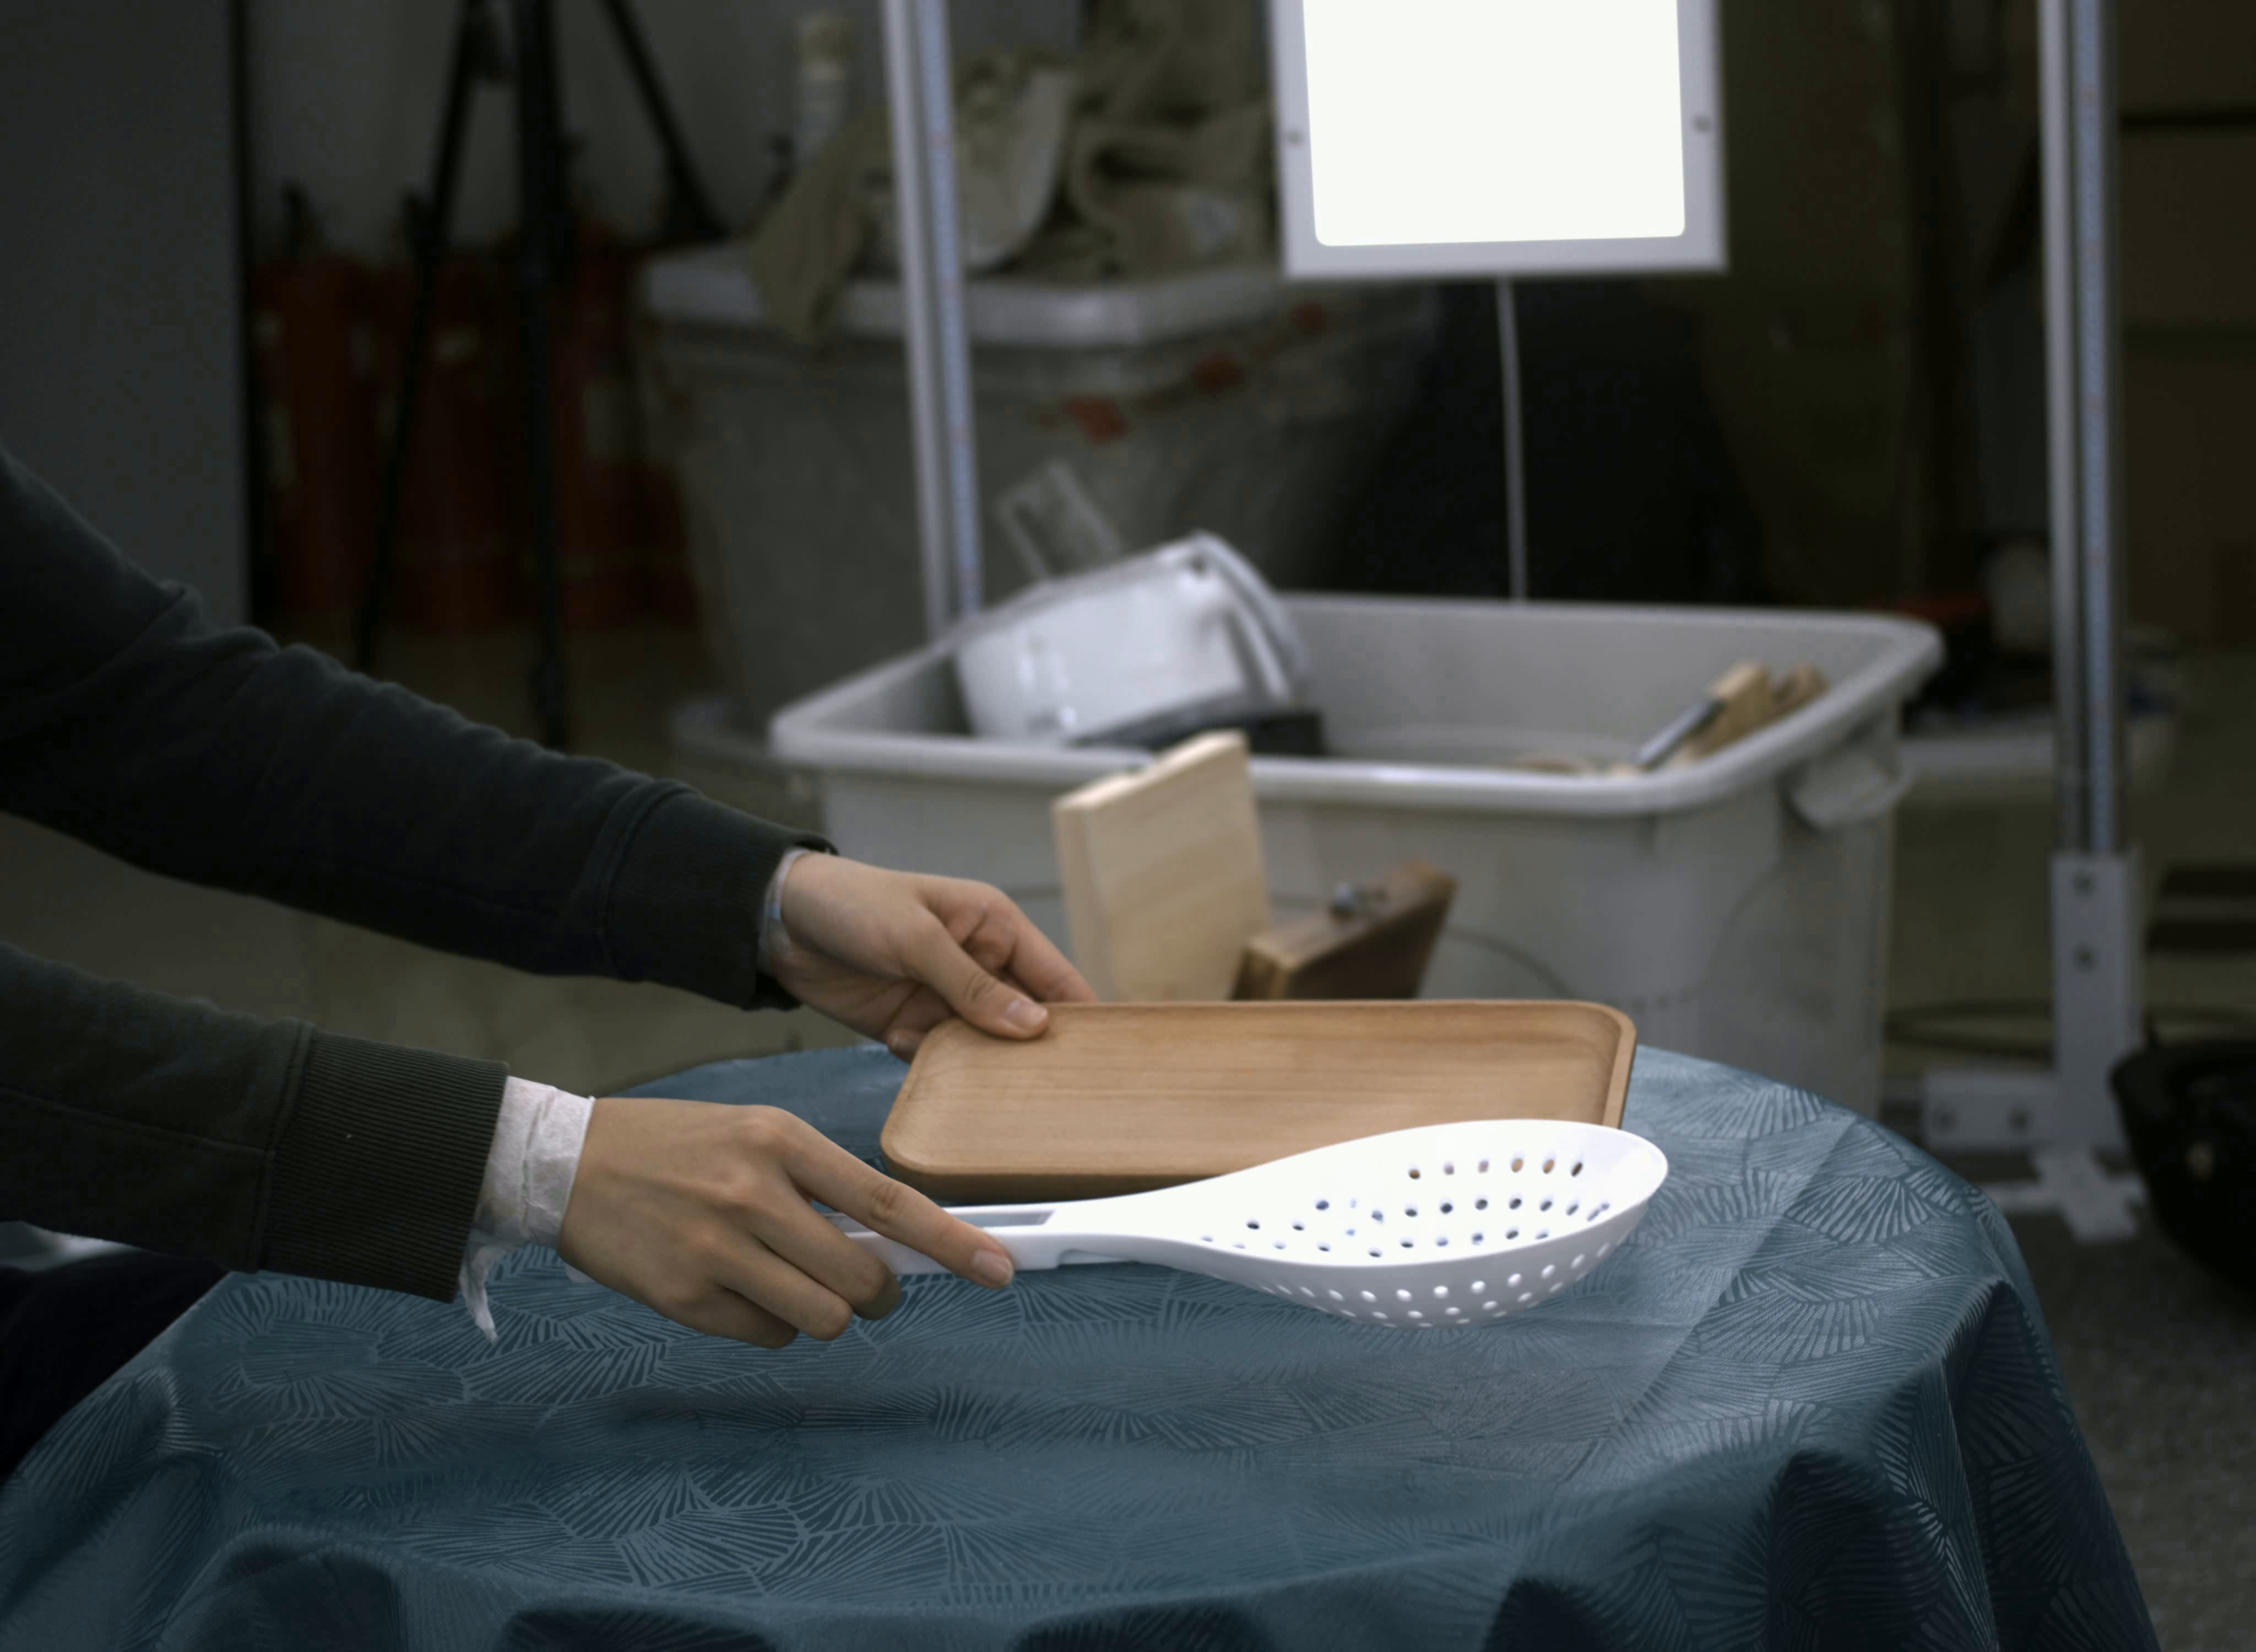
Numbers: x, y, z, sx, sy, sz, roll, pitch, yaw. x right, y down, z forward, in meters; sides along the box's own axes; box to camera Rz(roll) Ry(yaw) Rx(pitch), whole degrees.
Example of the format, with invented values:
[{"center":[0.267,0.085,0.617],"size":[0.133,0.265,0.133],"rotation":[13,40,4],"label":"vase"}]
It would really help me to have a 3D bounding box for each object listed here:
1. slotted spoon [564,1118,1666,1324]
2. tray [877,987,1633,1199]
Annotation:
[{"center":[-0.008,0.122,1.682],"size":[0.354,0.046,0.134],"rotation":[1,14,18],"label":"slotted spoon"},{"center":[0.044,0.091,1.867],"size":[0.253,0.023,0.129],"rotation":[-2,23,14],"label":"tray"}]
